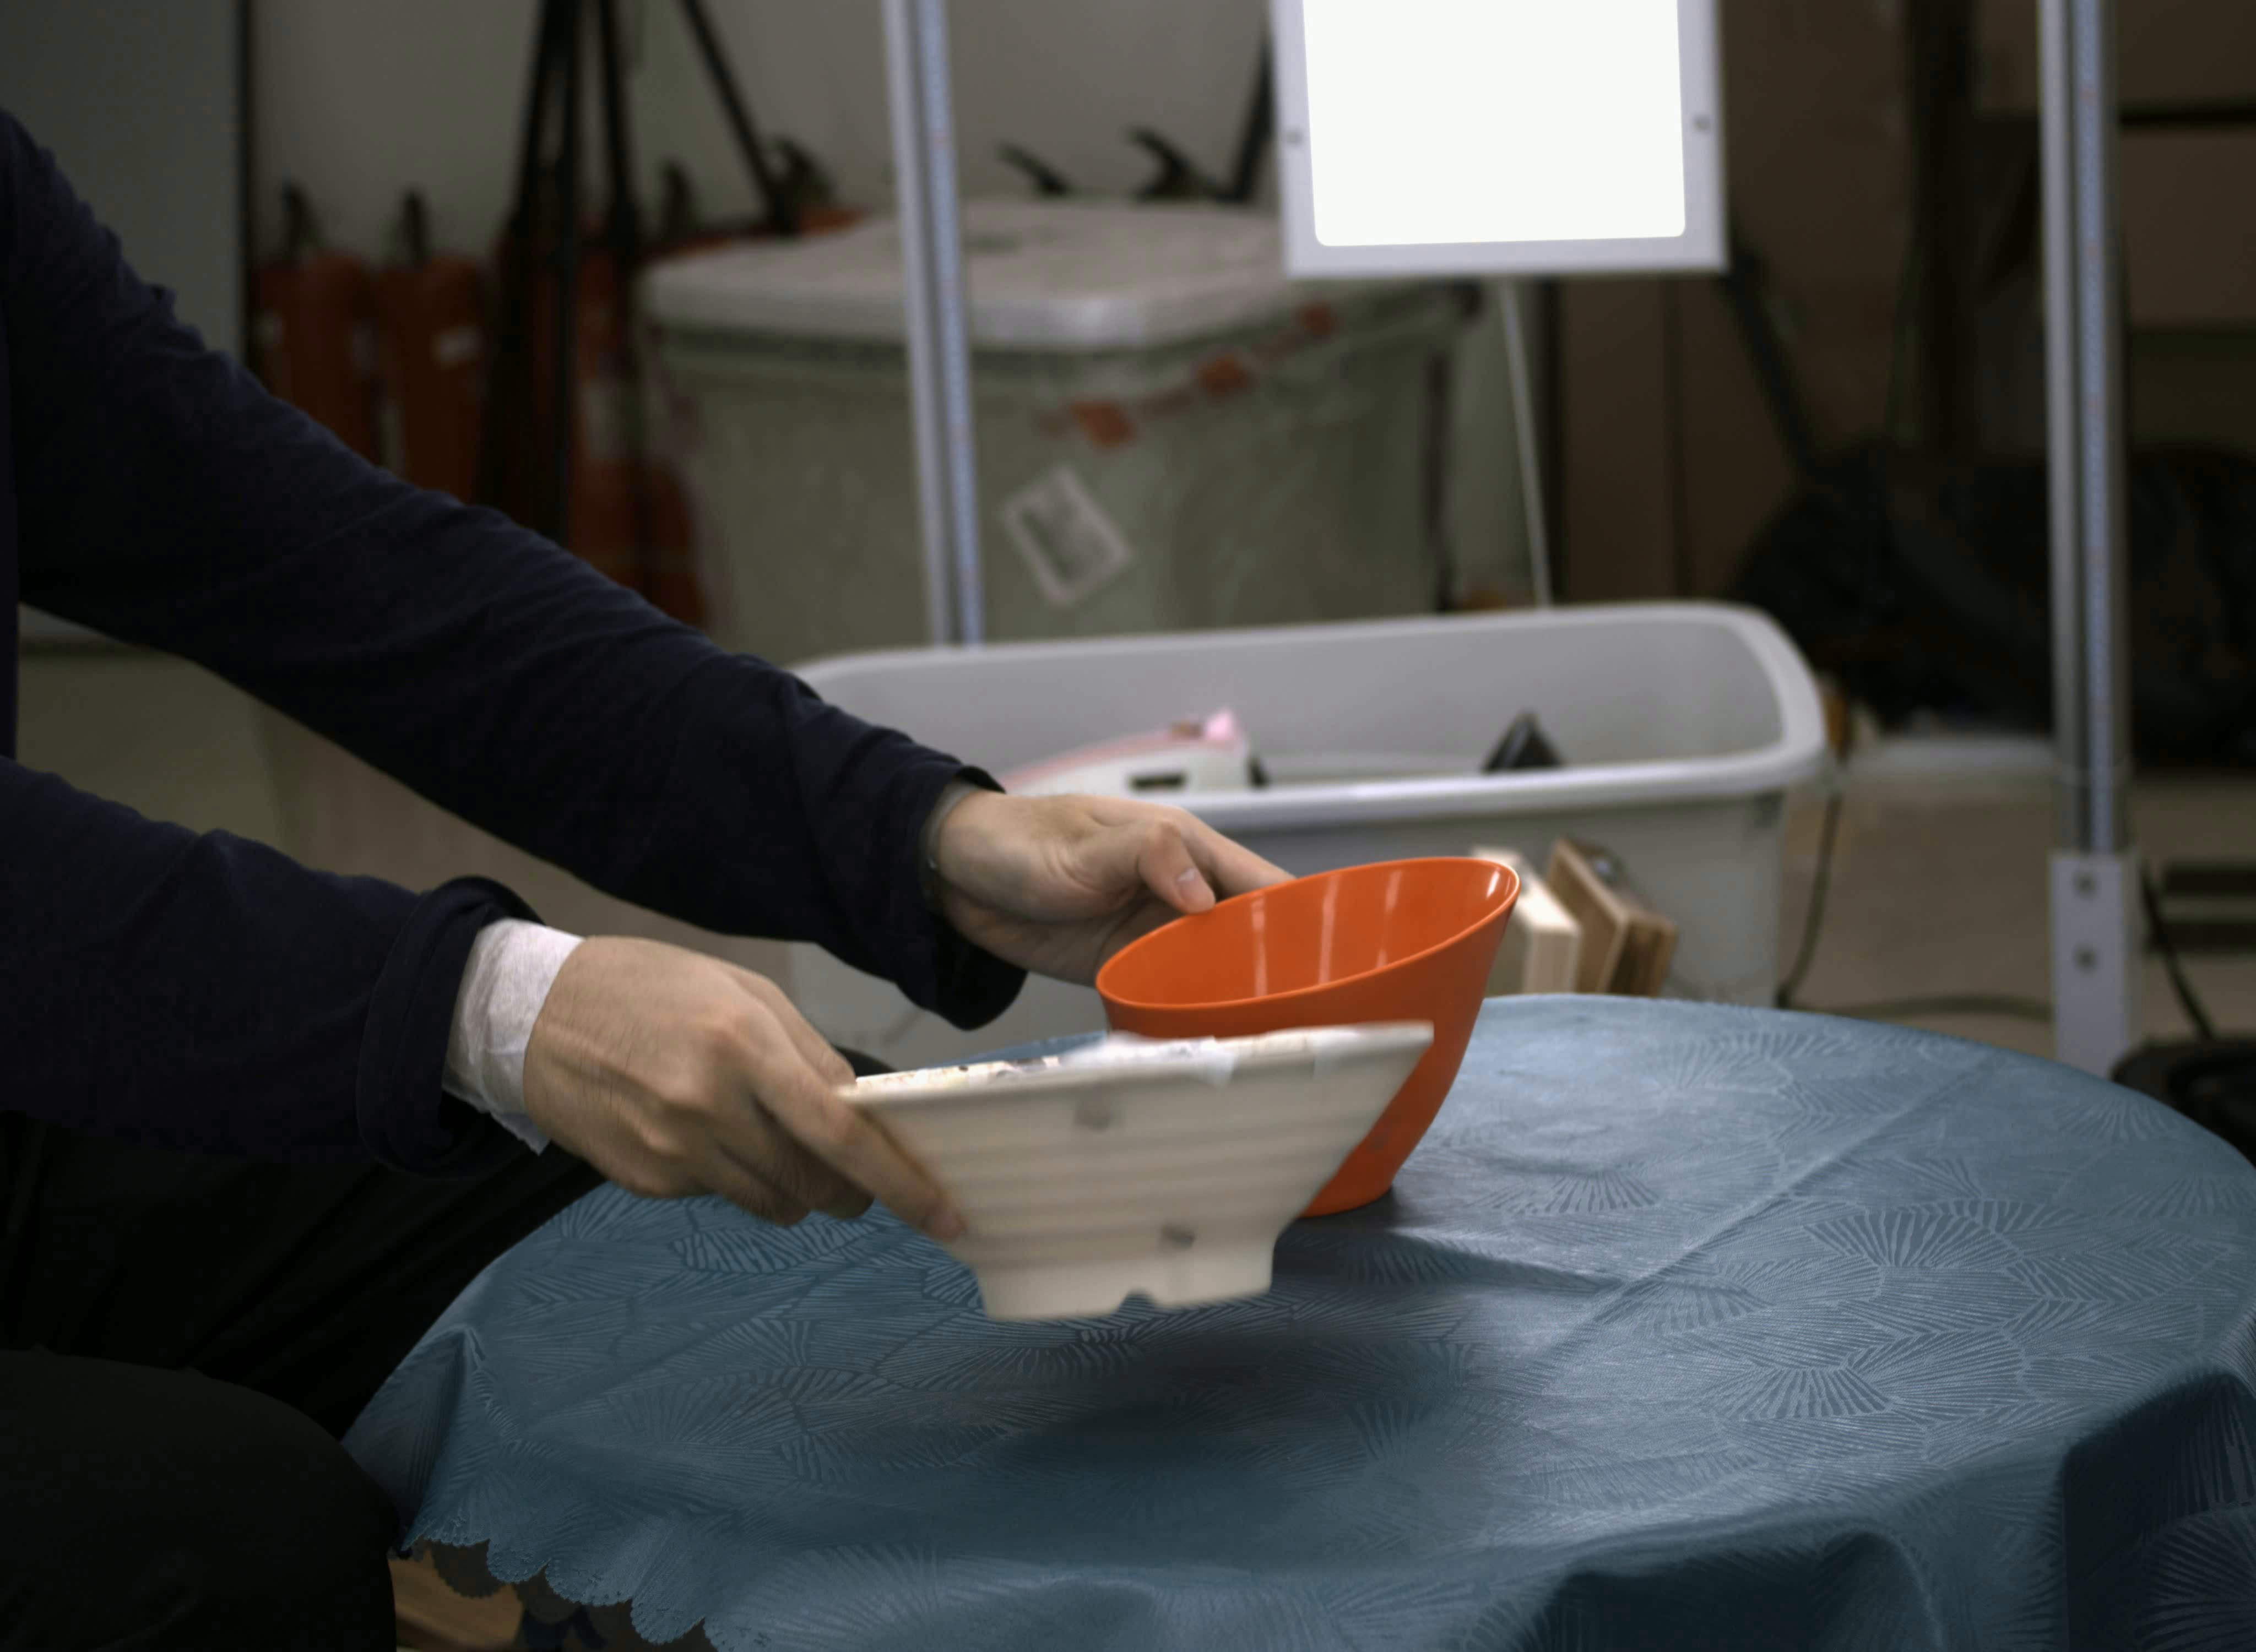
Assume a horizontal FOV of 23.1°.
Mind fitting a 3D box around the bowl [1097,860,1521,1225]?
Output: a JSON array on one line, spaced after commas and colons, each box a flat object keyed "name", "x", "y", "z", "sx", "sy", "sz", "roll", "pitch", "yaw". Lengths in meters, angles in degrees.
[{"name": "bowl", "x": 0.066, "y": 0.076, "z": 1.876, "sx": 0.148, "sy": 0.105, "sz": 0.148, "roll": -7, "pitch": 14, "yaw": 0}]

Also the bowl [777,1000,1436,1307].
[{"name": "bowl", "x": -0.002, "y": 0.103, "z": 1.678, "sx": 0.203, "sy": 0.078, "sz": 0.204, "roll": -7, "pitch": -4, "yaw": -2}]
